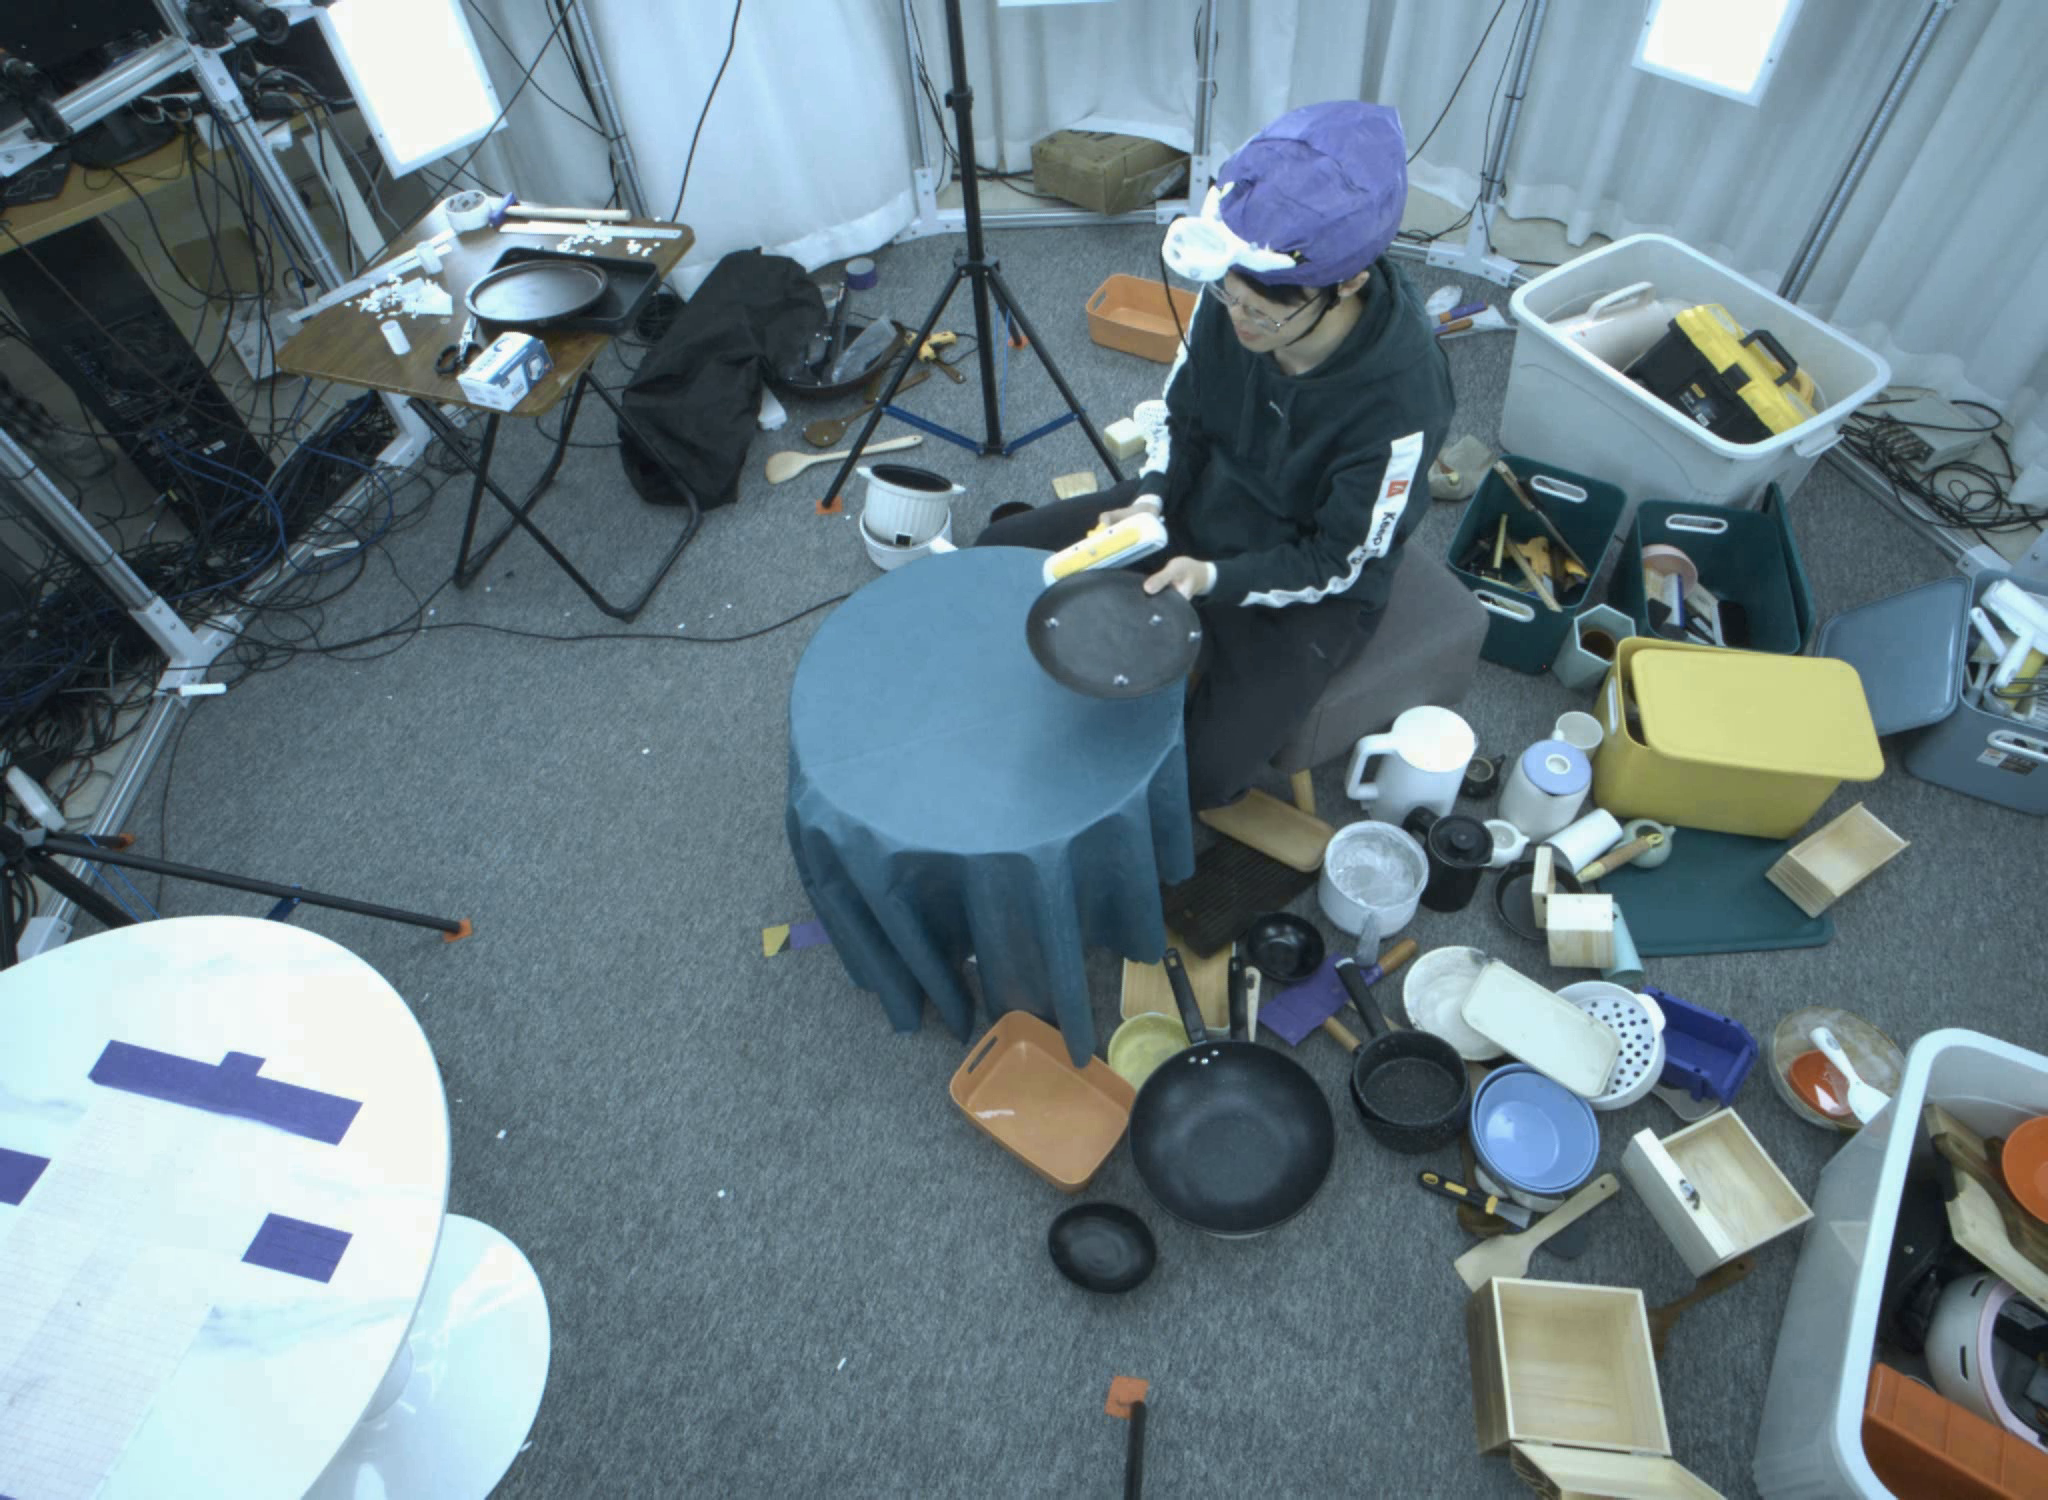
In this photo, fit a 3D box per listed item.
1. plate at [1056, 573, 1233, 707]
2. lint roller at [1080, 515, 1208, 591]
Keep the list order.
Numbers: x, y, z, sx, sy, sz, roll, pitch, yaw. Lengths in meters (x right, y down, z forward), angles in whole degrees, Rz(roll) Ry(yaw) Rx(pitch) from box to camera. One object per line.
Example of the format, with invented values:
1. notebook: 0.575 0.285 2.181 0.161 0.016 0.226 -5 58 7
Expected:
1. plate: 0.164 -0.149 1.687 0.245 0.023 0.242 2 54 -2
2. lint roller: 0.189 -0.288 1.822 0.191 0.195 0.074 -26 84 21
